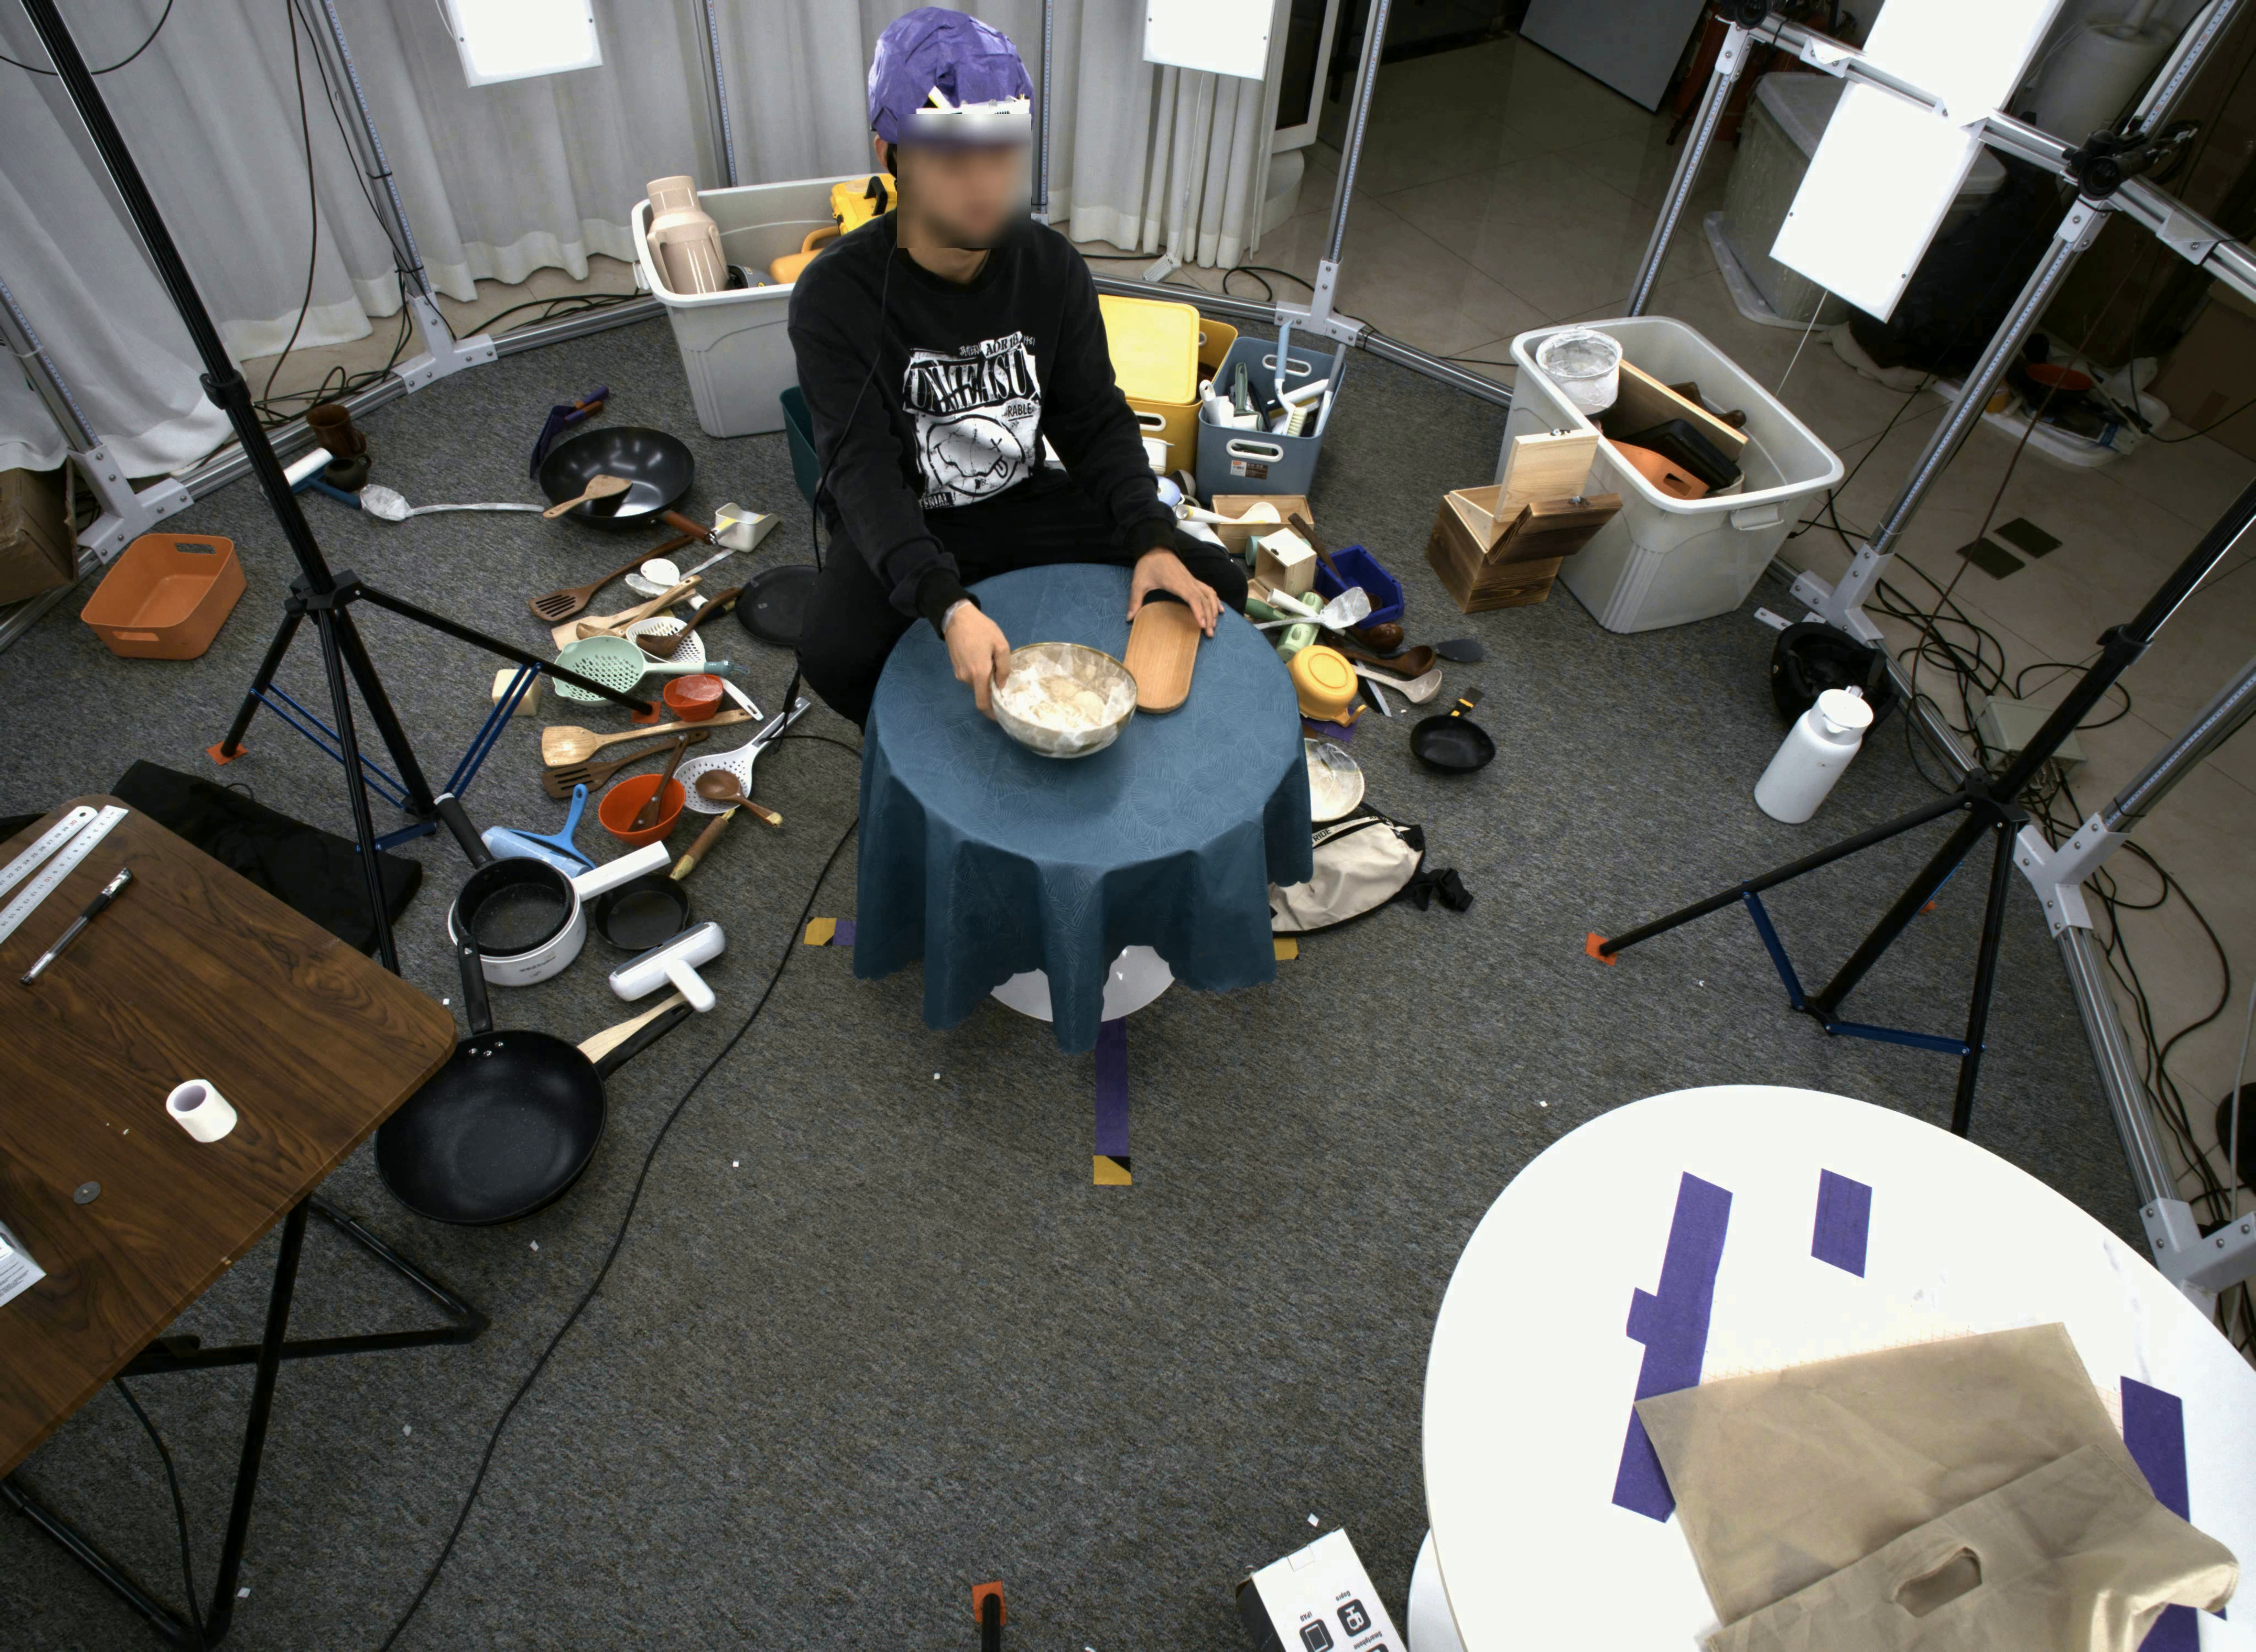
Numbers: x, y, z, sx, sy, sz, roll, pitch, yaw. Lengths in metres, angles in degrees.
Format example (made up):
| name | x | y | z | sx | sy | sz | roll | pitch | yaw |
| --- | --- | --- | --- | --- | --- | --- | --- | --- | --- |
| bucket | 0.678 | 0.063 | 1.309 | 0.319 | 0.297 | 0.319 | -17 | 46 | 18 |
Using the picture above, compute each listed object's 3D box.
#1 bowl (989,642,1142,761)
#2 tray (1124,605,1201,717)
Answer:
| name | x | y | z | sx | sy | sz | roll | pitch | yaw |
| --- | --- | --- | --- | --- | --- | --- | --- | --- | --- |
| bowl | -0.087 | -0.157 | 1.751 | 0.214 | 0.092 | 0.220 | 4 | 42 | -3 |
| tray | 0.049 | -0.246 | 1.892 | 0.102 | 0.020 | 0.236 | 7 | 50 | 5 |
